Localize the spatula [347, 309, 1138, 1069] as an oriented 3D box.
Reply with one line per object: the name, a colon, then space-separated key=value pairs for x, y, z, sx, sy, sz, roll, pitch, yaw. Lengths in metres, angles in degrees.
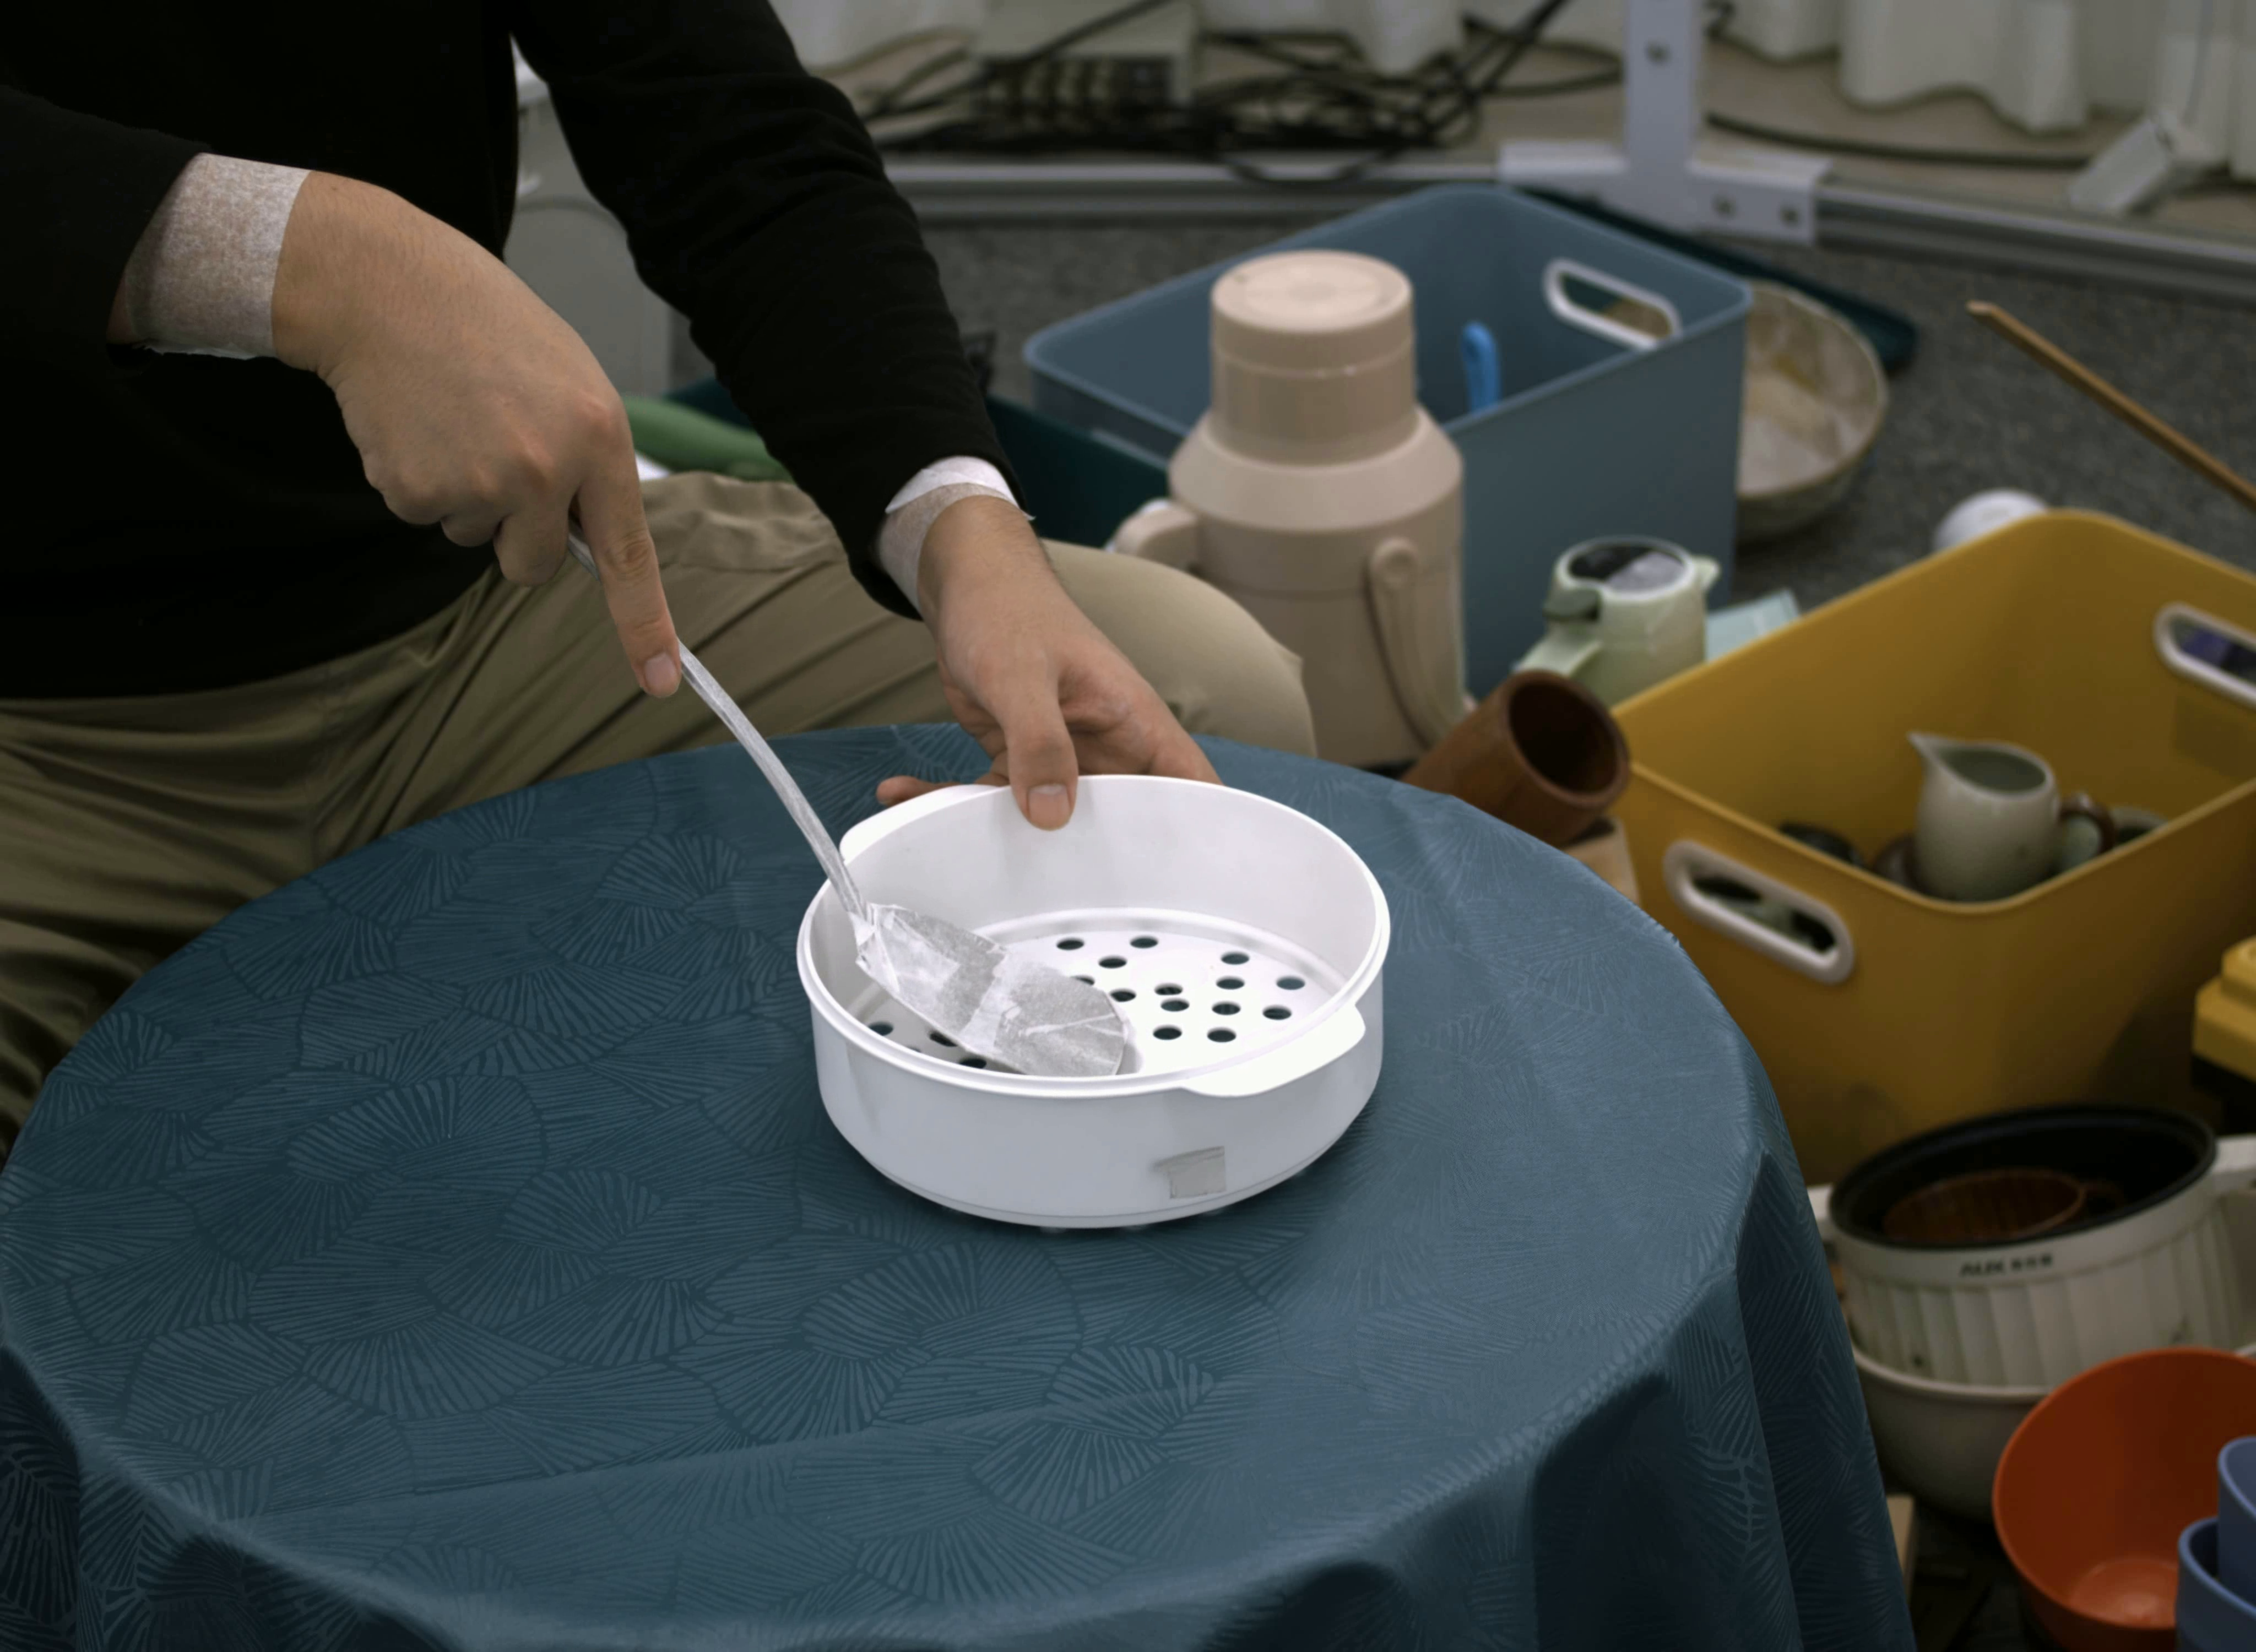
spatula: x=-0.132 y=-0.042 z=1.884 sx=0.044 sy=0.364 sz=0.100 roll=-38 pitch=5 yaw=20

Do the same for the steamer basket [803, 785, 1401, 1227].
steamer basket: x=-0.008 y=0.061 z=1.898 sx=0.204 sy=0.068 sz=0.231 roll=-22 pitch=34 yaw=-31
